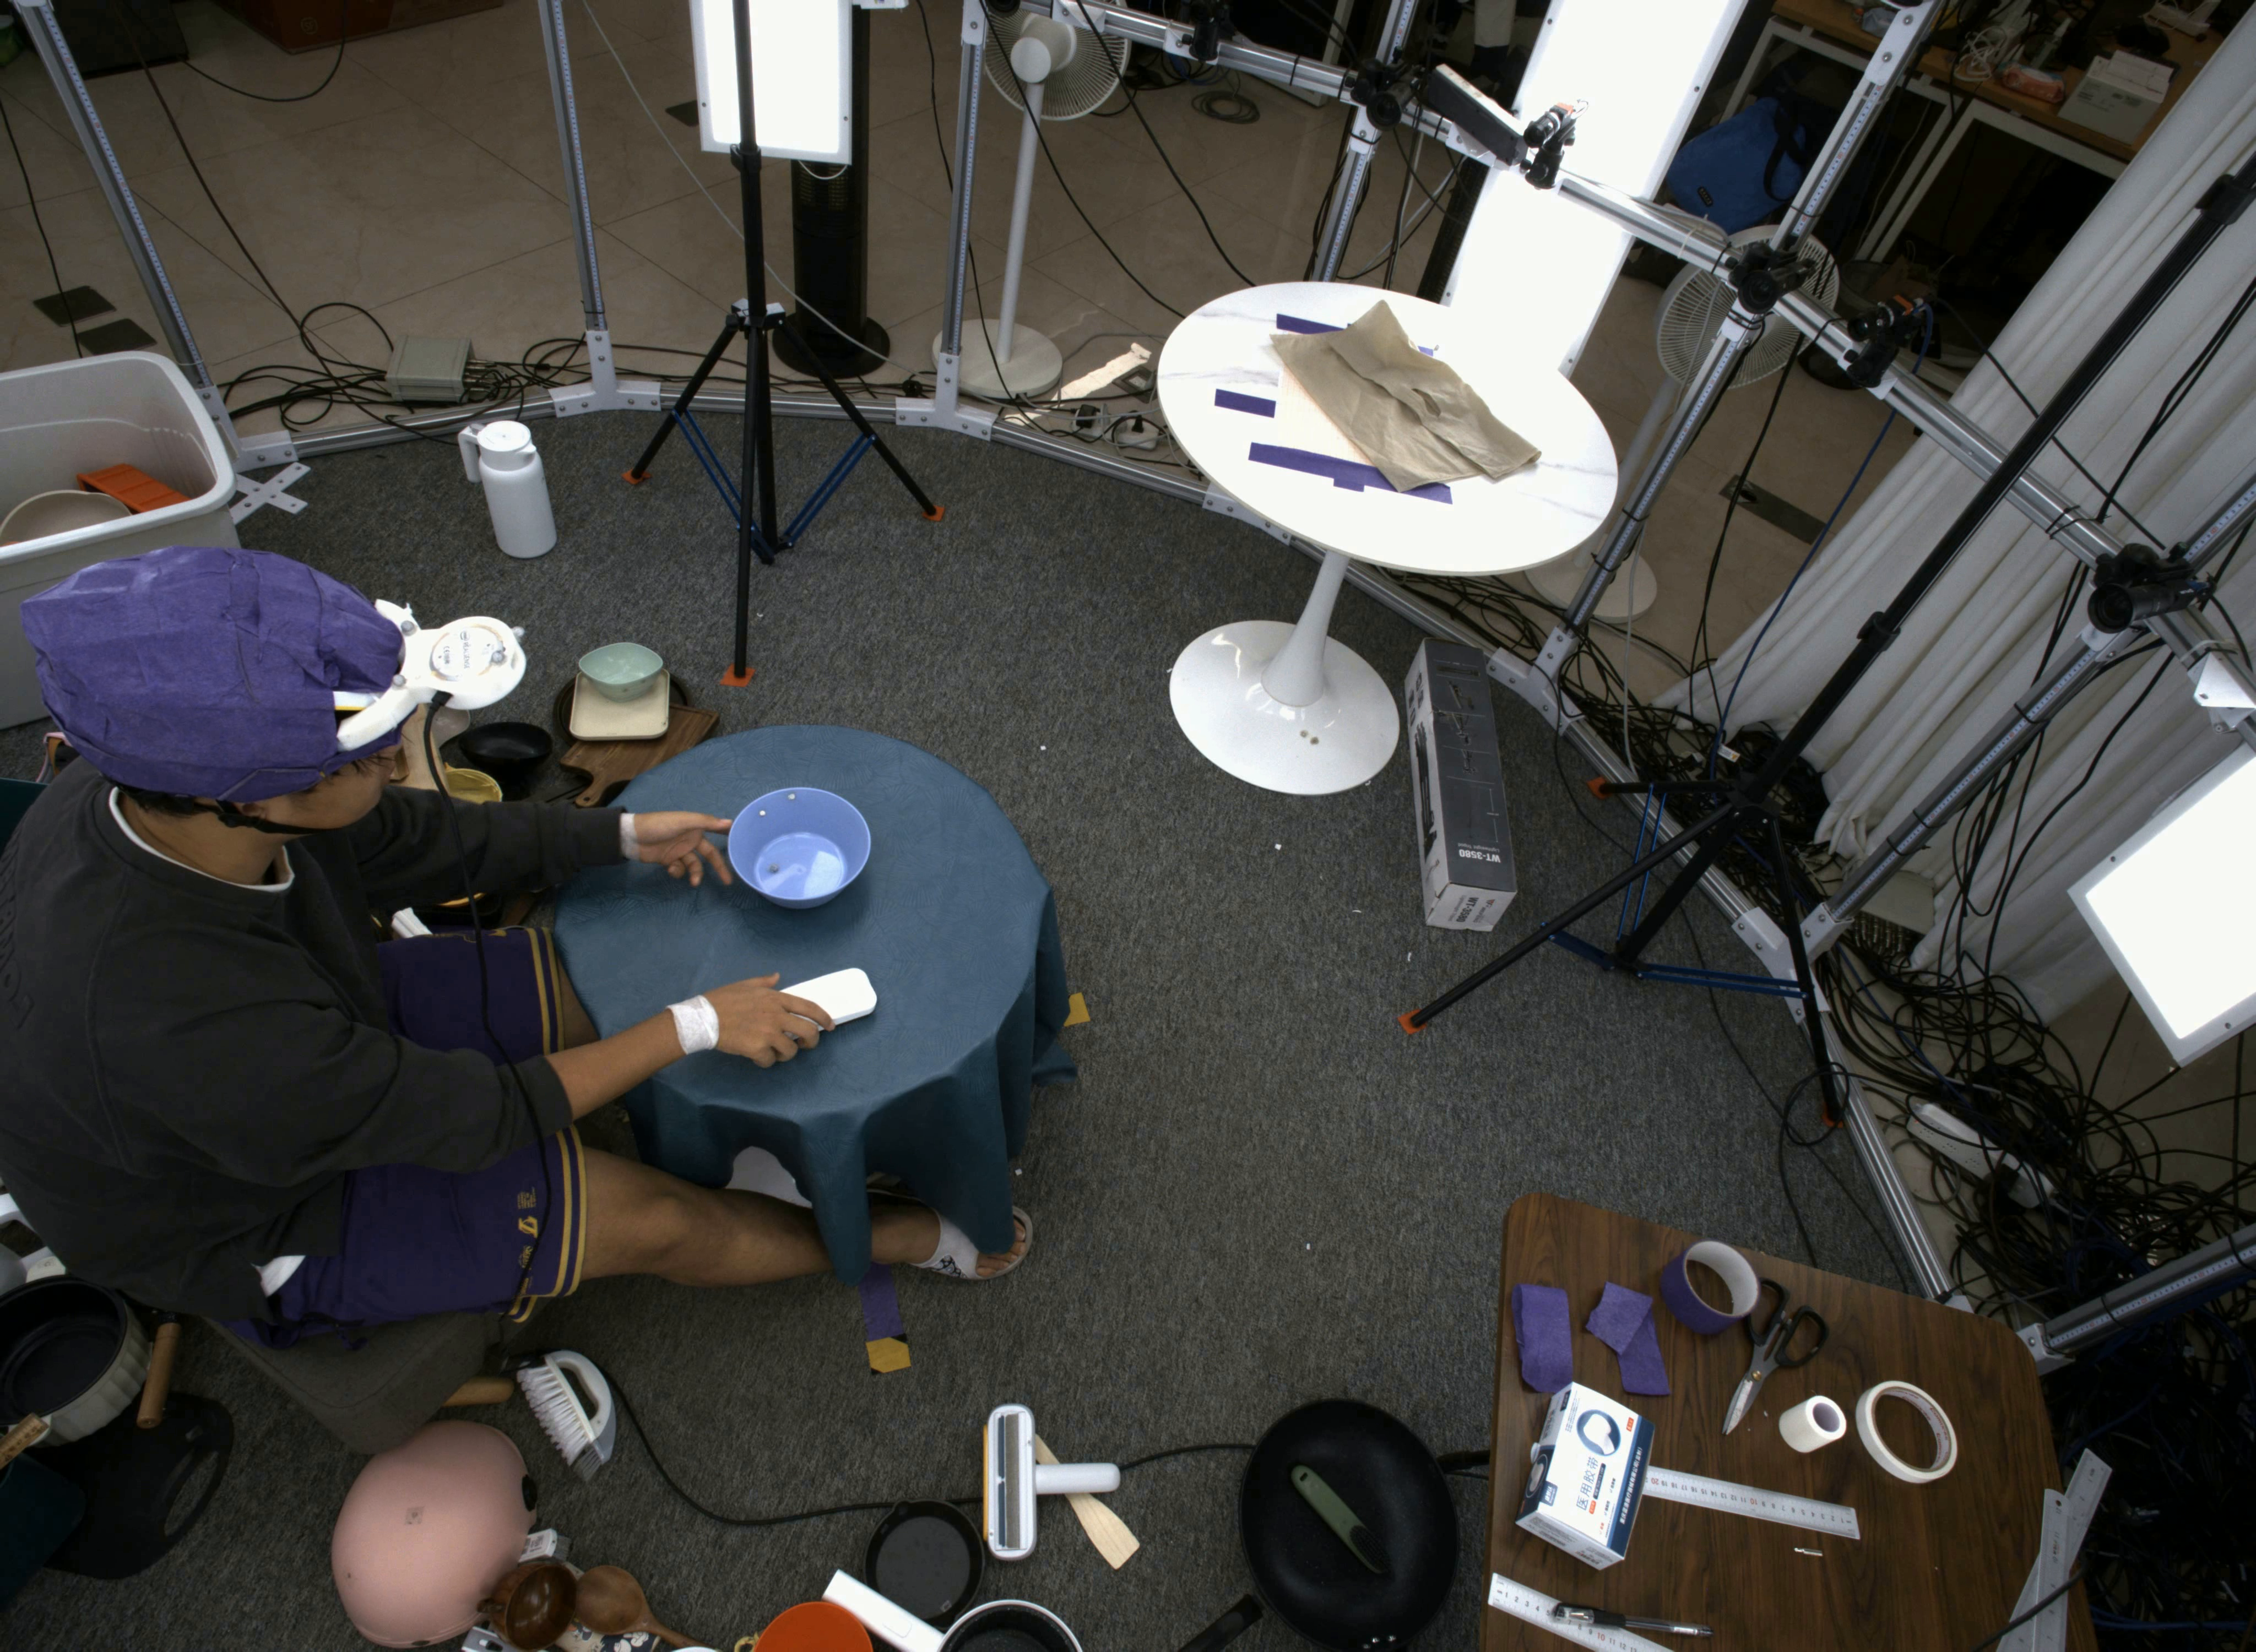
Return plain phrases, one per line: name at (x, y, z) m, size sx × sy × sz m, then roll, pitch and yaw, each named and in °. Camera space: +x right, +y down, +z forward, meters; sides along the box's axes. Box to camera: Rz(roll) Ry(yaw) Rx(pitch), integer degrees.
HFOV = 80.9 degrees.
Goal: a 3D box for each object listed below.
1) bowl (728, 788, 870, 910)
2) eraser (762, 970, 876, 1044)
bowl at (-0.418, 0.039, 1.655) m, size 0.175 × 0.072 × 0.173 m, roll 8°, pitch 51°, yaw -8°
eraser at (-0.372, 0.213, 1.562) m, size 0.132 × 0.035 × 0.062 m, roll -14°, pitch 57°, yaw -26°
